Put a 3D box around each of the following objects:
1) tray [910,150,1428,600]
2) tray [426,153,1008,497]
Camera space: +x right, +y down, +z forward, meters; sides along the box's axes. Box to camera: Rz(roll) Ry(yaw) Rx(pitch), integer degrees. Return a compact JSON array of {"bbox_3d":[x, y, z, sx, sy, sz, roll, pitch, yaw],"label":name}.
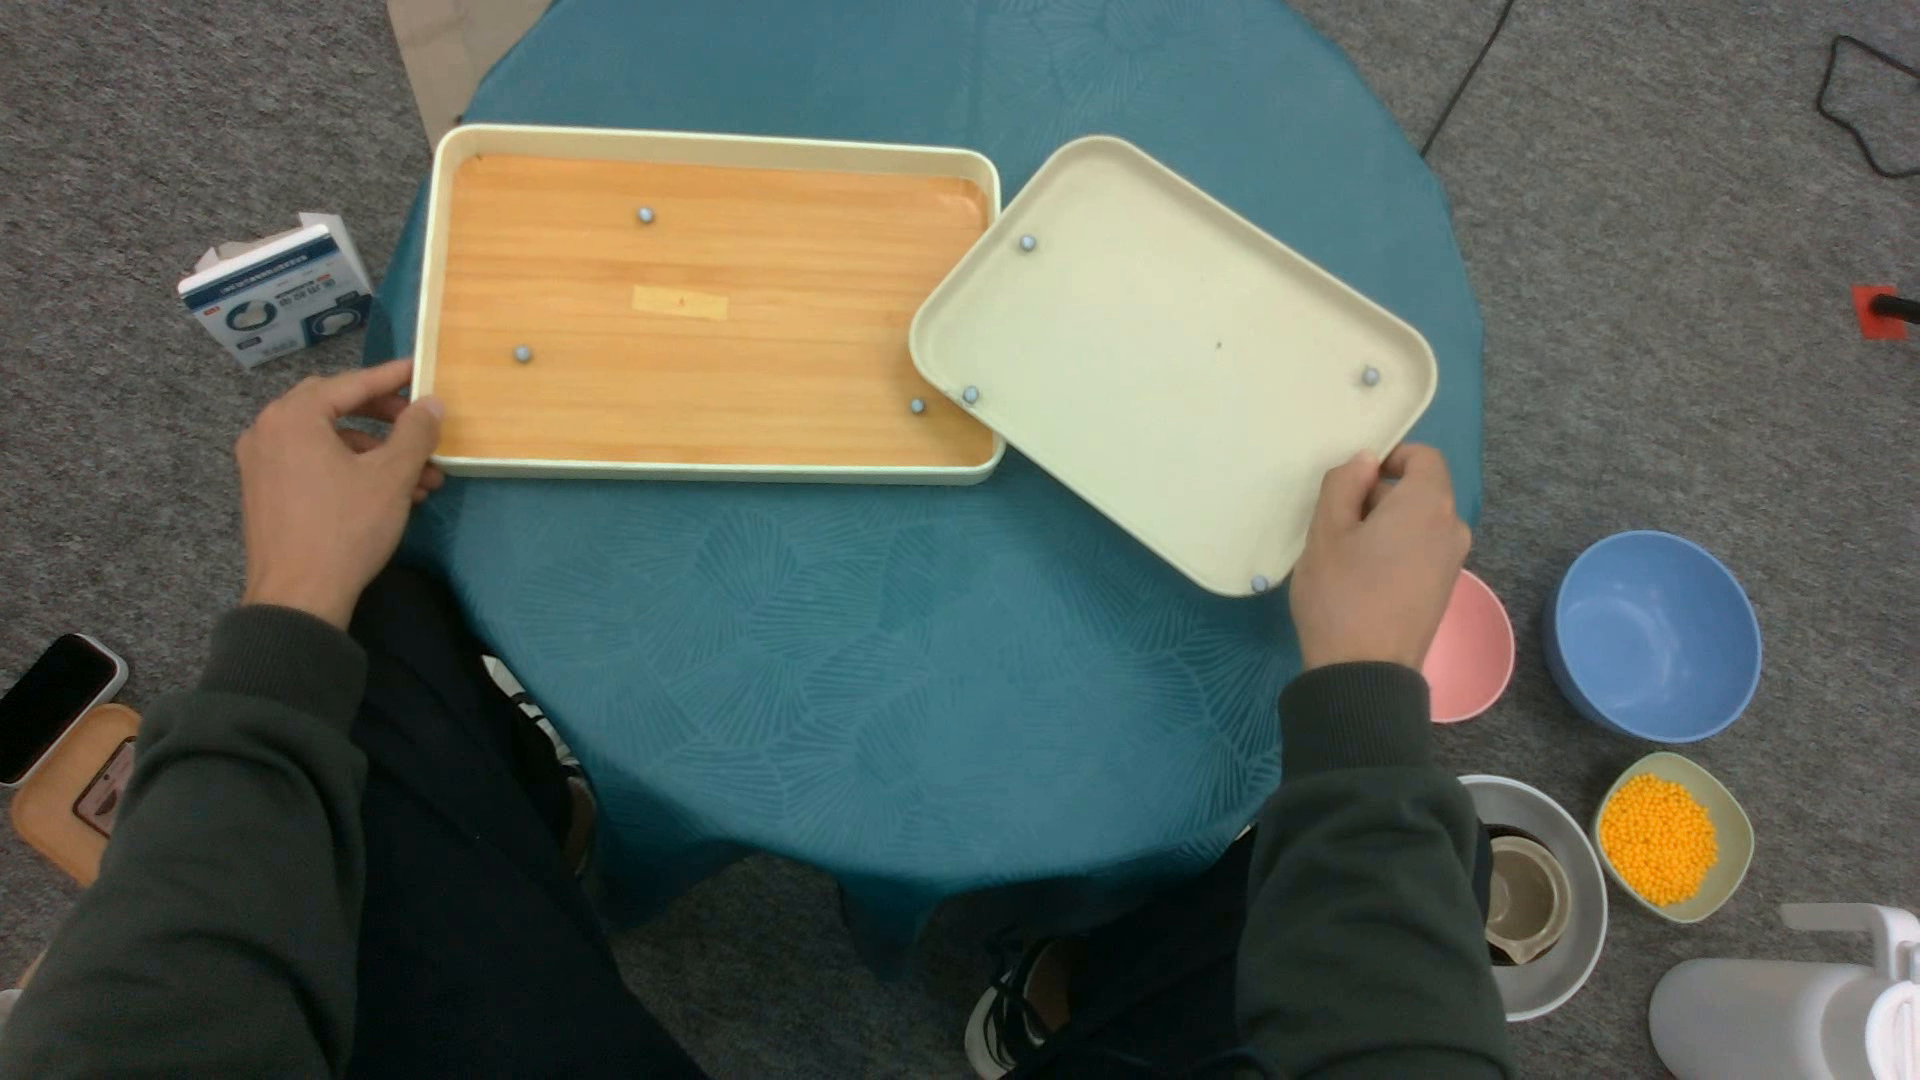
[{"bbox_3d":[0.105,-0.091,0.721,0.240,0.017,0.171,37,82,17],"label":"tray"},{"bbox_3d":[-0.127,-0.117,0.748,0.300,0.027,0.192,0,74,-6],"label":"tray"}]
